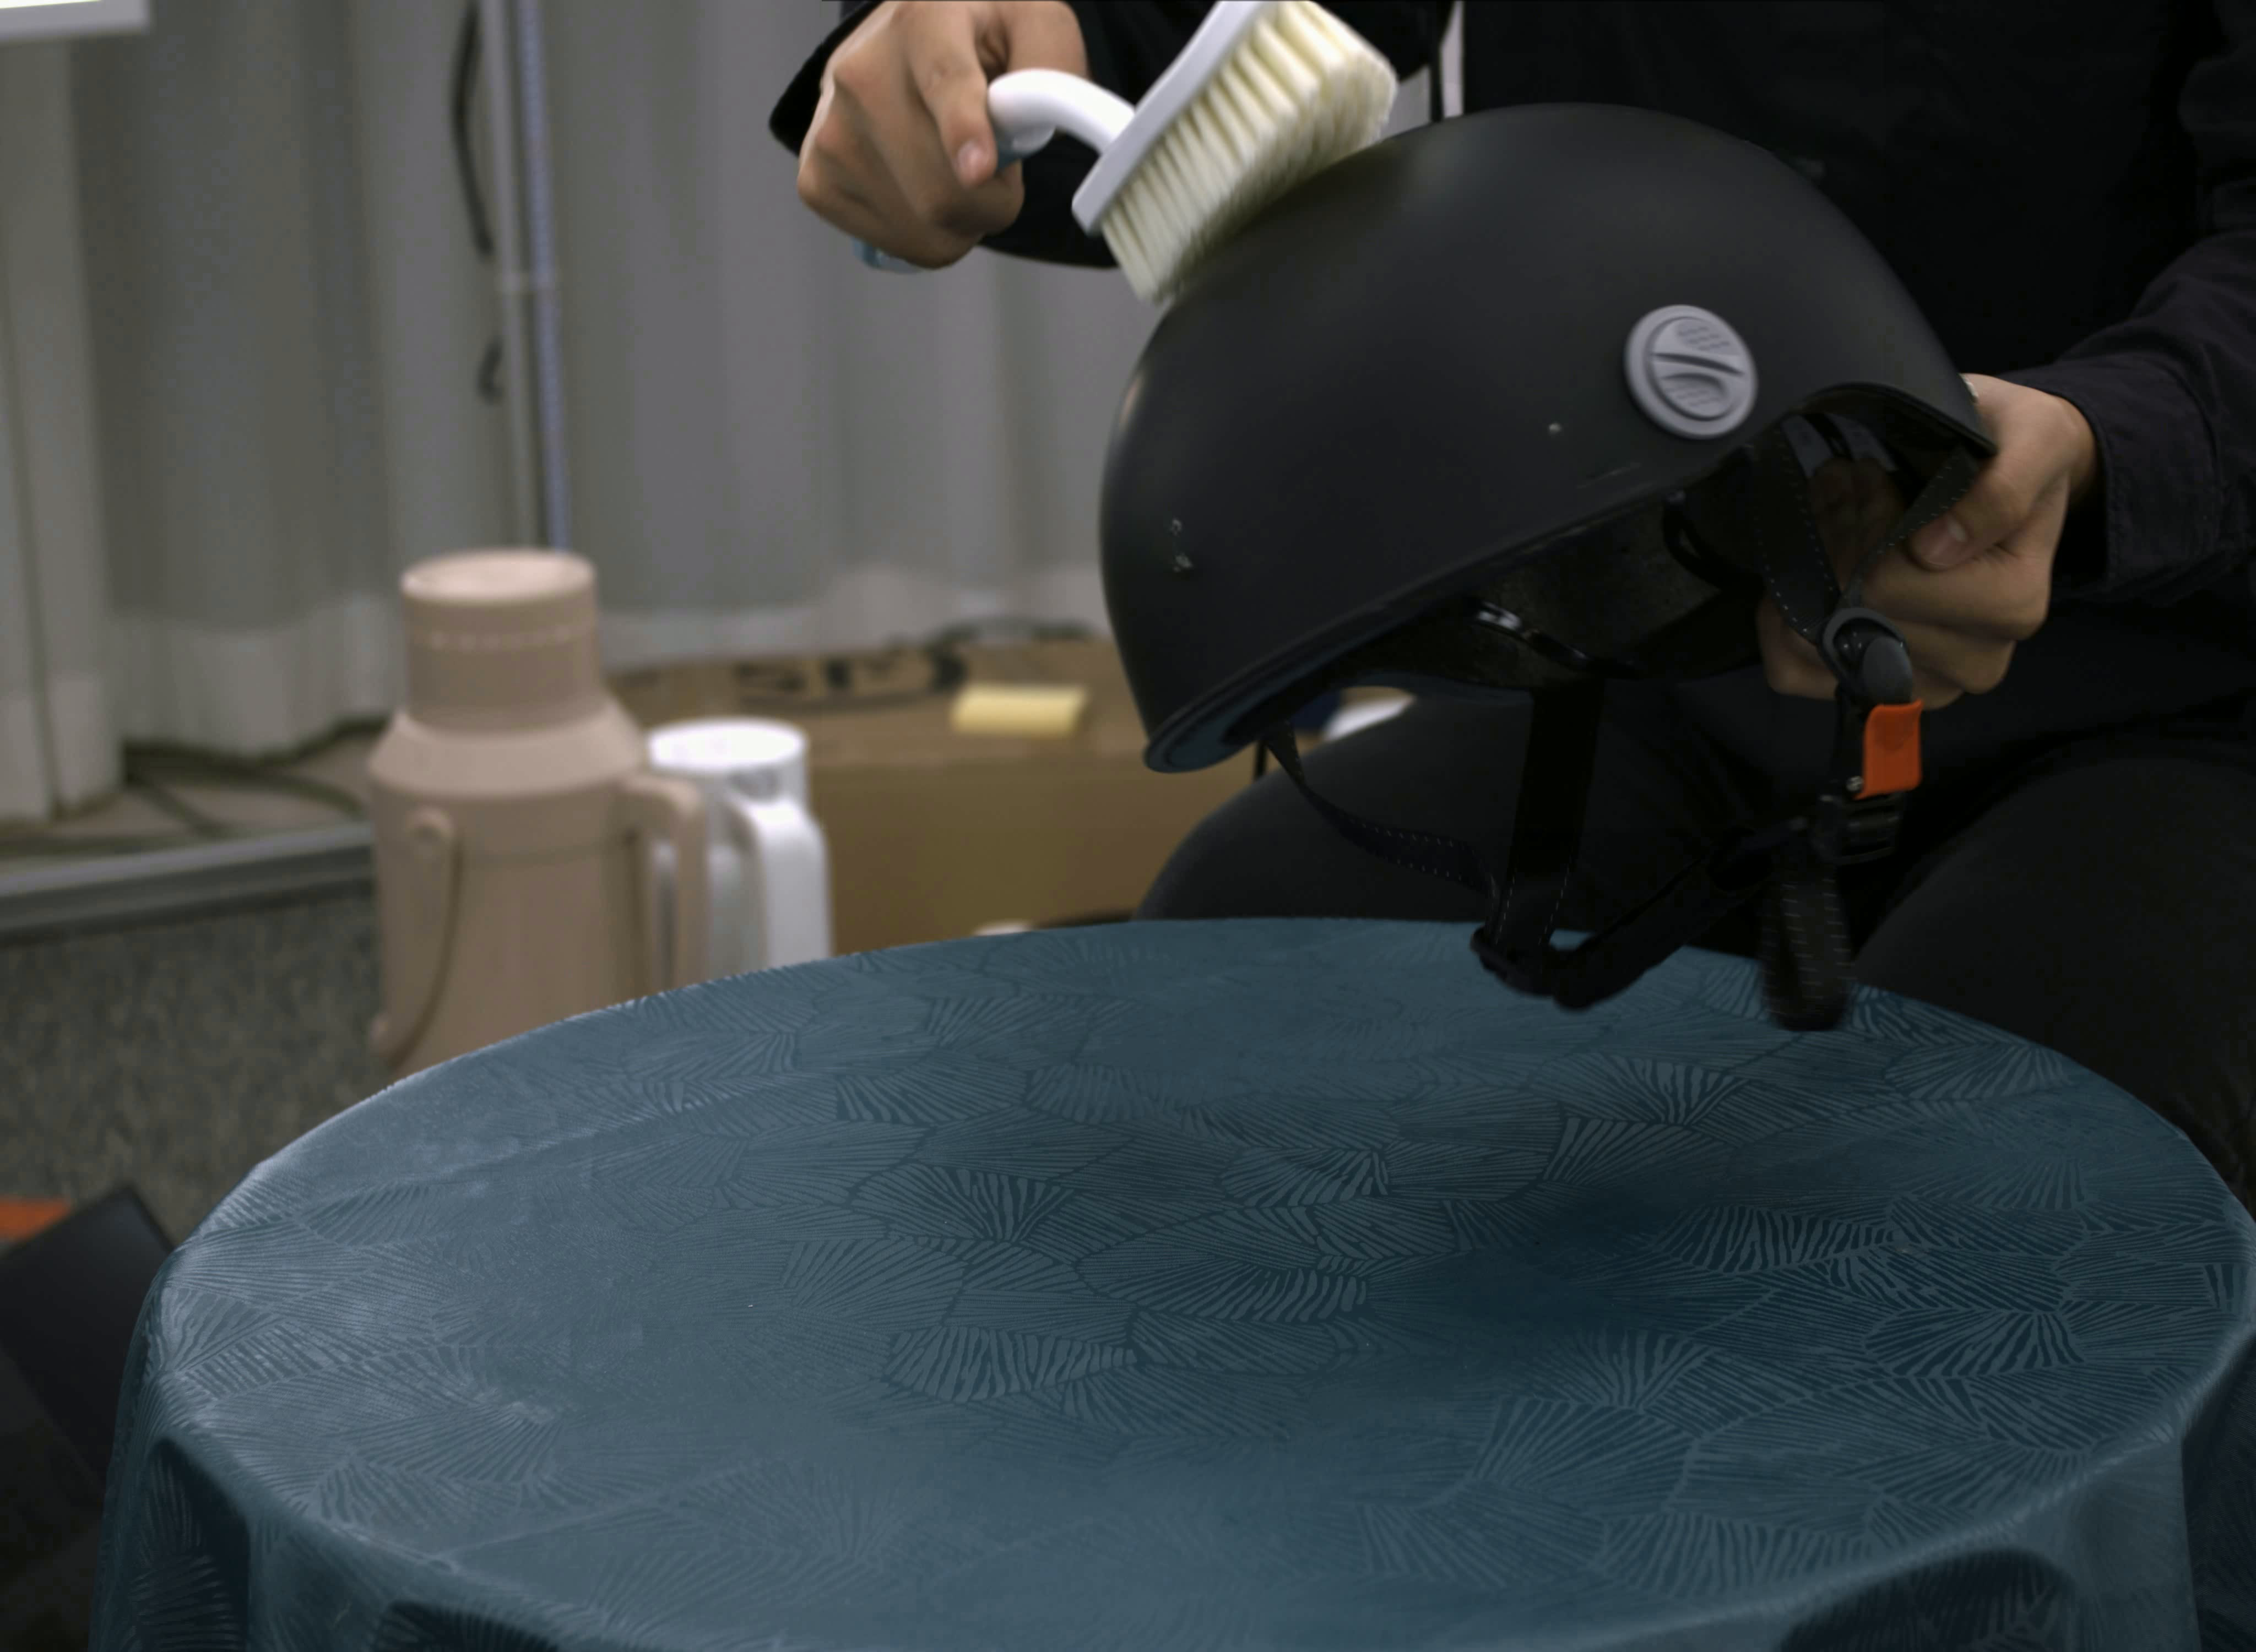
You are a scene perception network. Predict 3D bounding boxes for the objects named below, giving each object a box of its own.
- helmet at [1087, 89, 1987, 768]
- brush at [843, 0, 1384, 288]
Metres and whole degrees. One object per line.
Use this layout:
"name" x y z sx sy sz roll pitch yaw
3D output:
"helmet" 0.102 -0.120 1.516 0.266 0.168 0.233 -9 -17 -37
"brush" -0.003 -0.188 1.602 0.081 0.085 0.330 9 -11 -21
